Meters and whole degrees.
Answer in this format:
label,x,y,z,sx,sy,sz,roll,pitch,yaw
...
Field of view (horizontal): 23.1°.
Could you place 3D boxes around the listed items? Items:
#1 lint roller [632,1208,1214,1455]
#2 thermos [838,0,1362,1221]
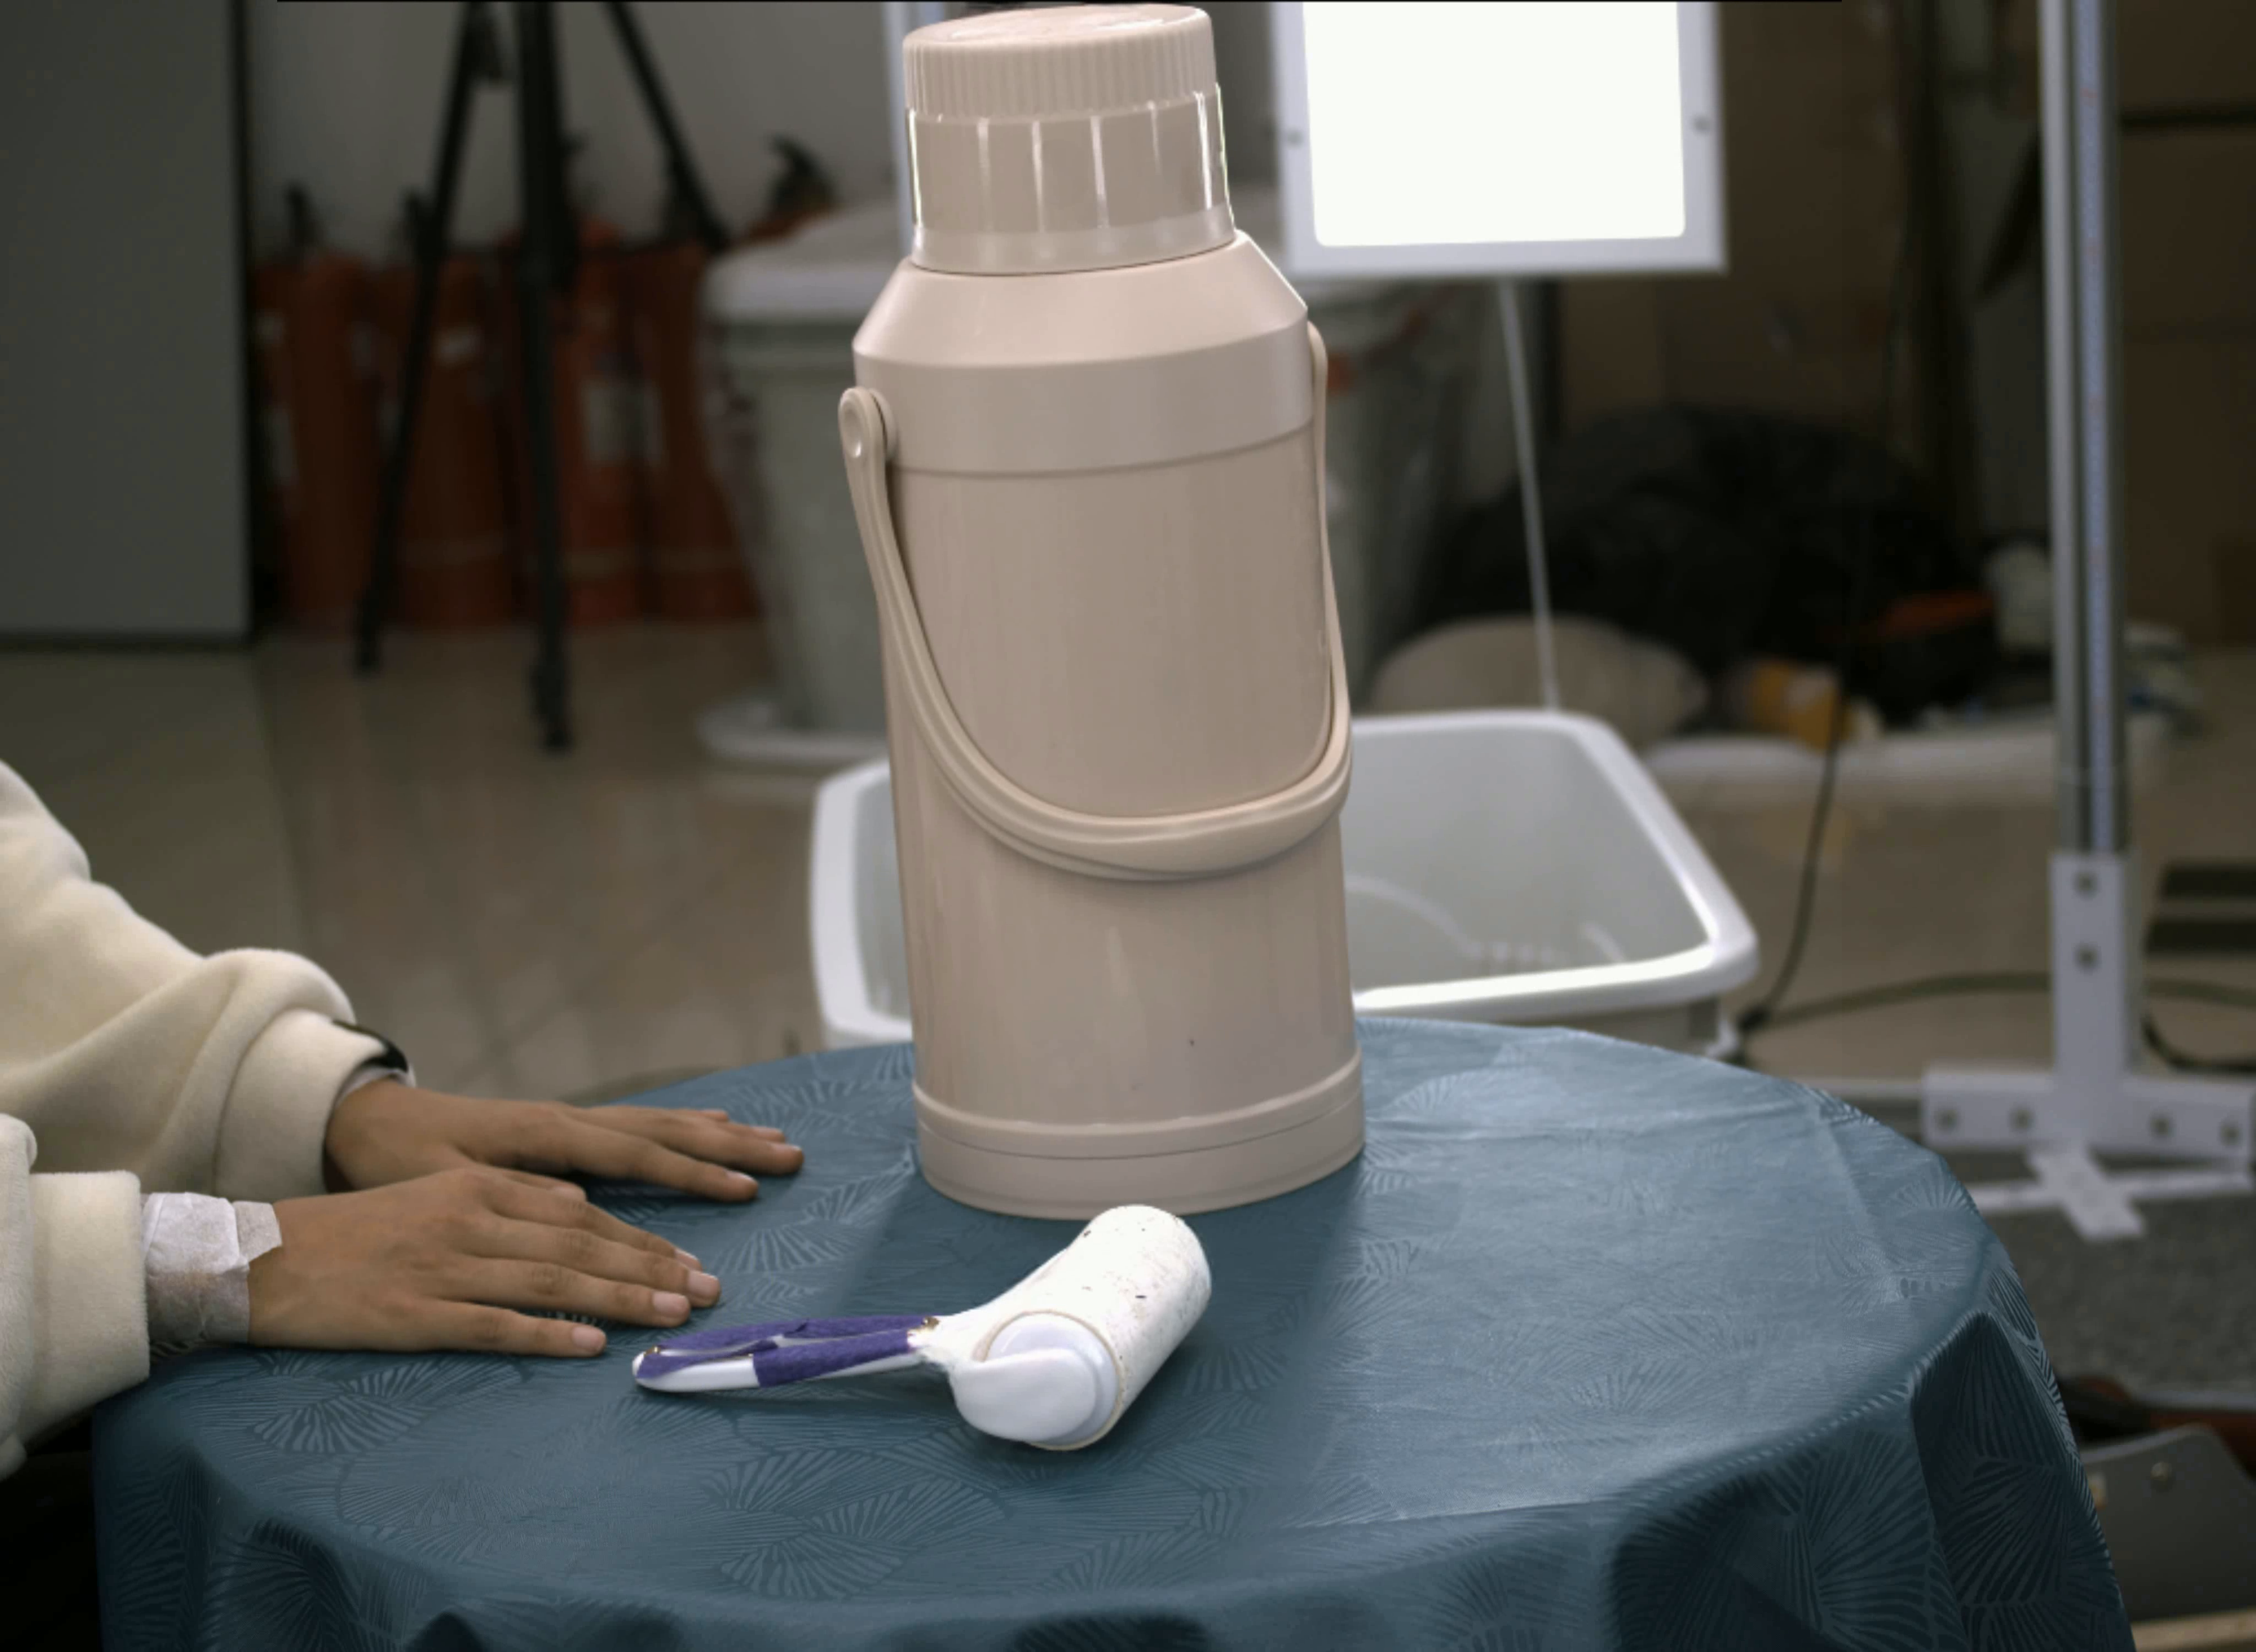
label,x,y,z,sx,sy,sz,roll,pitch,yaw
lint roller,-0.070,0.153,1.718,0.183,0.050,0.130,3,17,20
thermos,-0.015,-0.079,1.907,0.172,0.408,0.210,-11,15,-24
